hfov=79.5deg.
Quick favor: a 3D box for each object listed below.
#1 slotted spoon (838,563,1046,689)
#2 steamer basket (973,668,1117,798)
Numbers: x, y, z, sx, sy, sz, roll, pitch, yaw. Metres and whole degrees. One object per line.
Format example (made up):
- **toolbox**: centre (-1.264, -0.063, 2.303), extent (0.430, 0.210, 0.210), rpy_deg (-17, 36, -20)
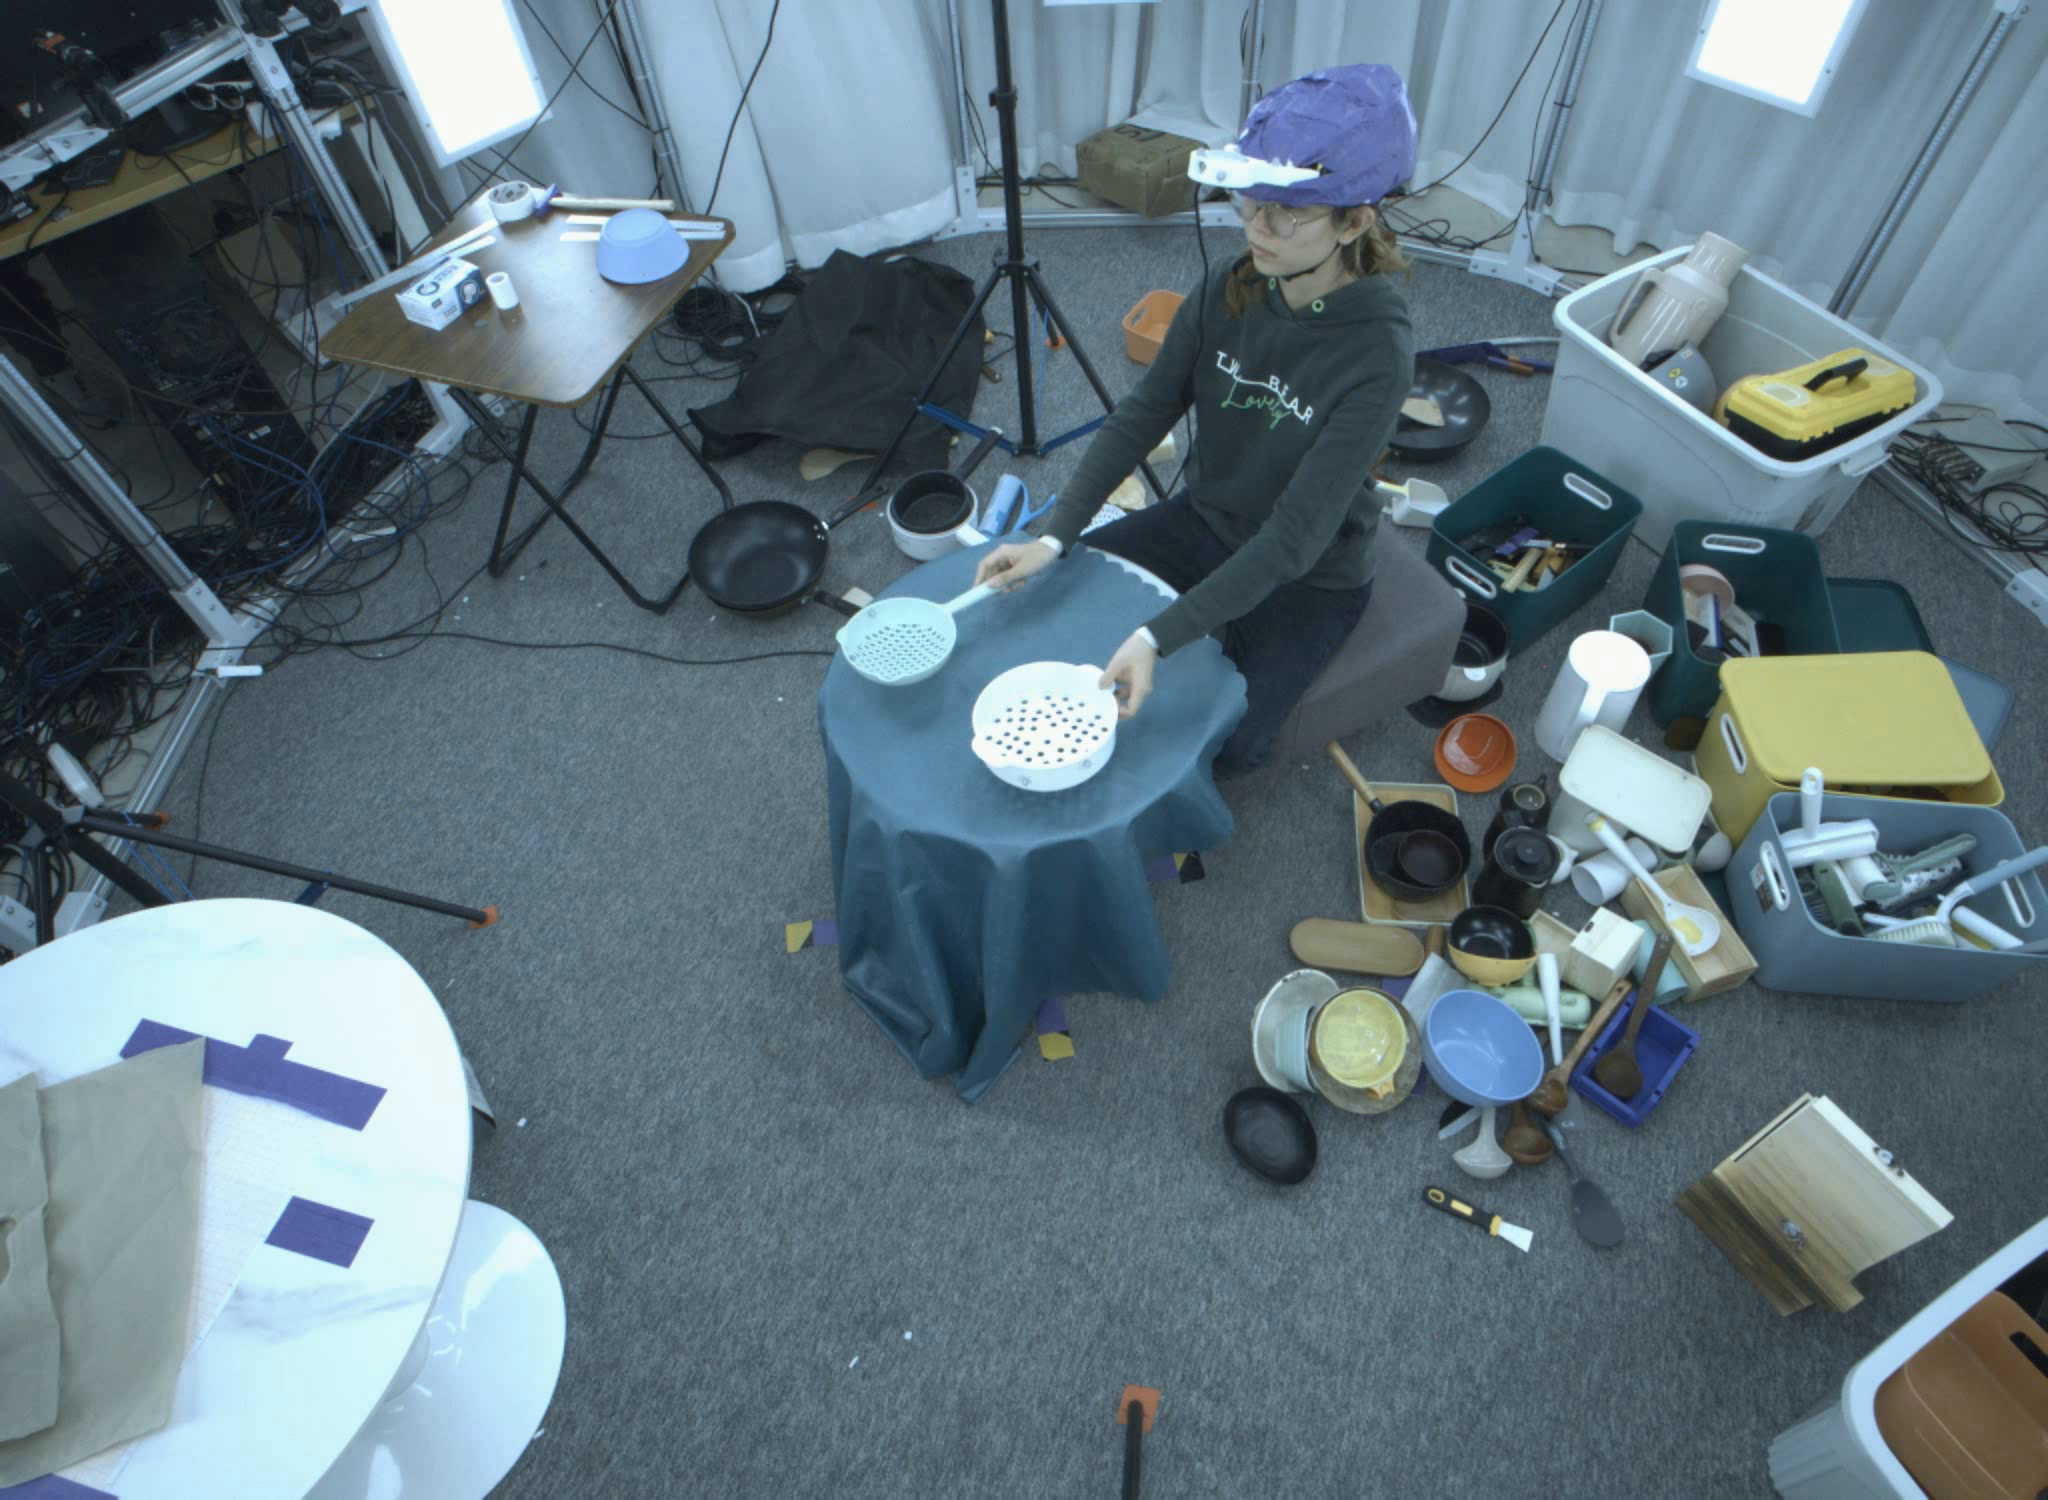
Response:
- **slotted spoon**: centre (-0.109, -0.206, 1.861), extent (0.361, 0.076, 0.166), rpy_deg (-38, 60, -18)
- **steamer basket**: centre (0.031, -0.023, 1.736), extent (0.232, 0.070, 0.198), rpy_deg (-36, 58, -25)
